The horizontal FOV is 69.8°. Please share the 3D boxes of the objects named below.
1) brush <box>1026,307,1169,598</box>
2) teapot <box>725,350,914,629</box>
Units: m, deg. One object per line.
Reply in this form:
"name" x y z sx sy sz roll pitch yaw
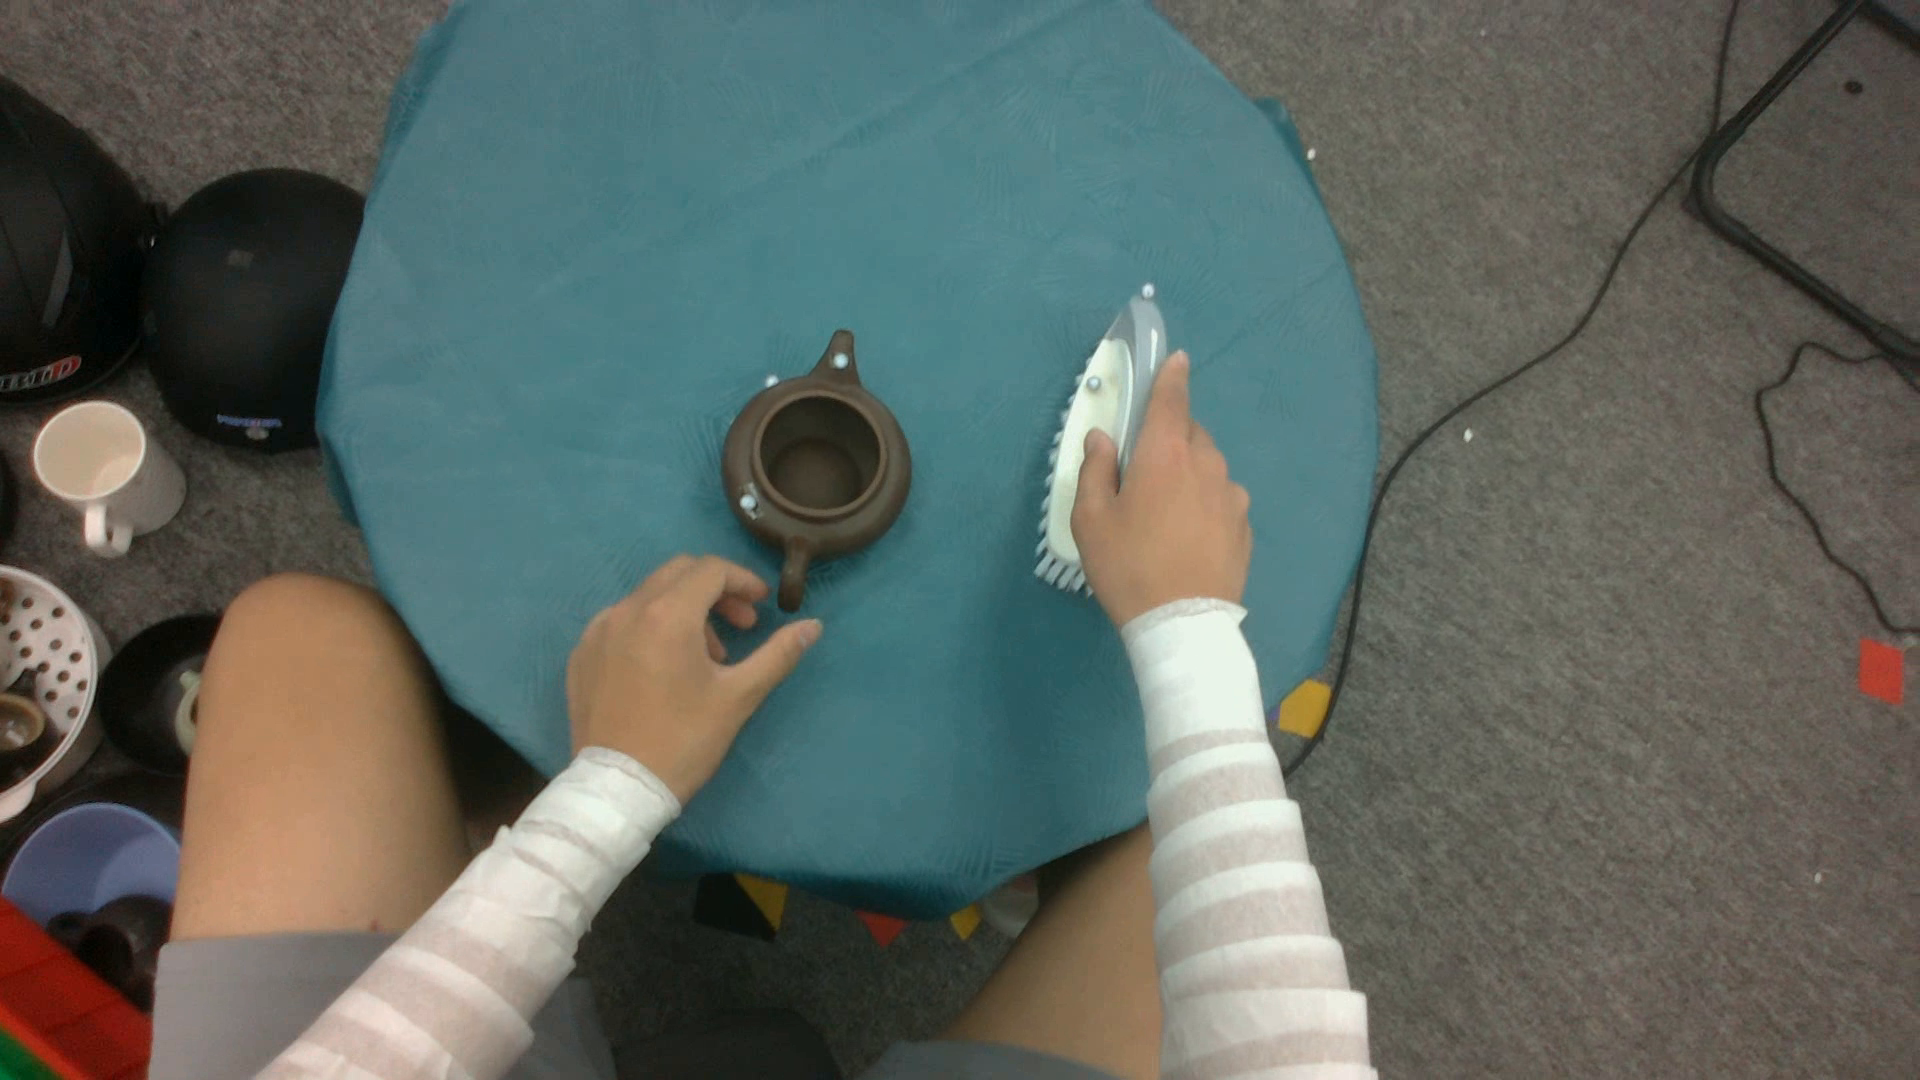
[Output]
"brush" 0.085 -0.063 0.769 0.061 0.094 0.176 17 65 -15
"teapot" -0.076 -0.026 0.751 0.102 0.053 0.154 3 70 -6
